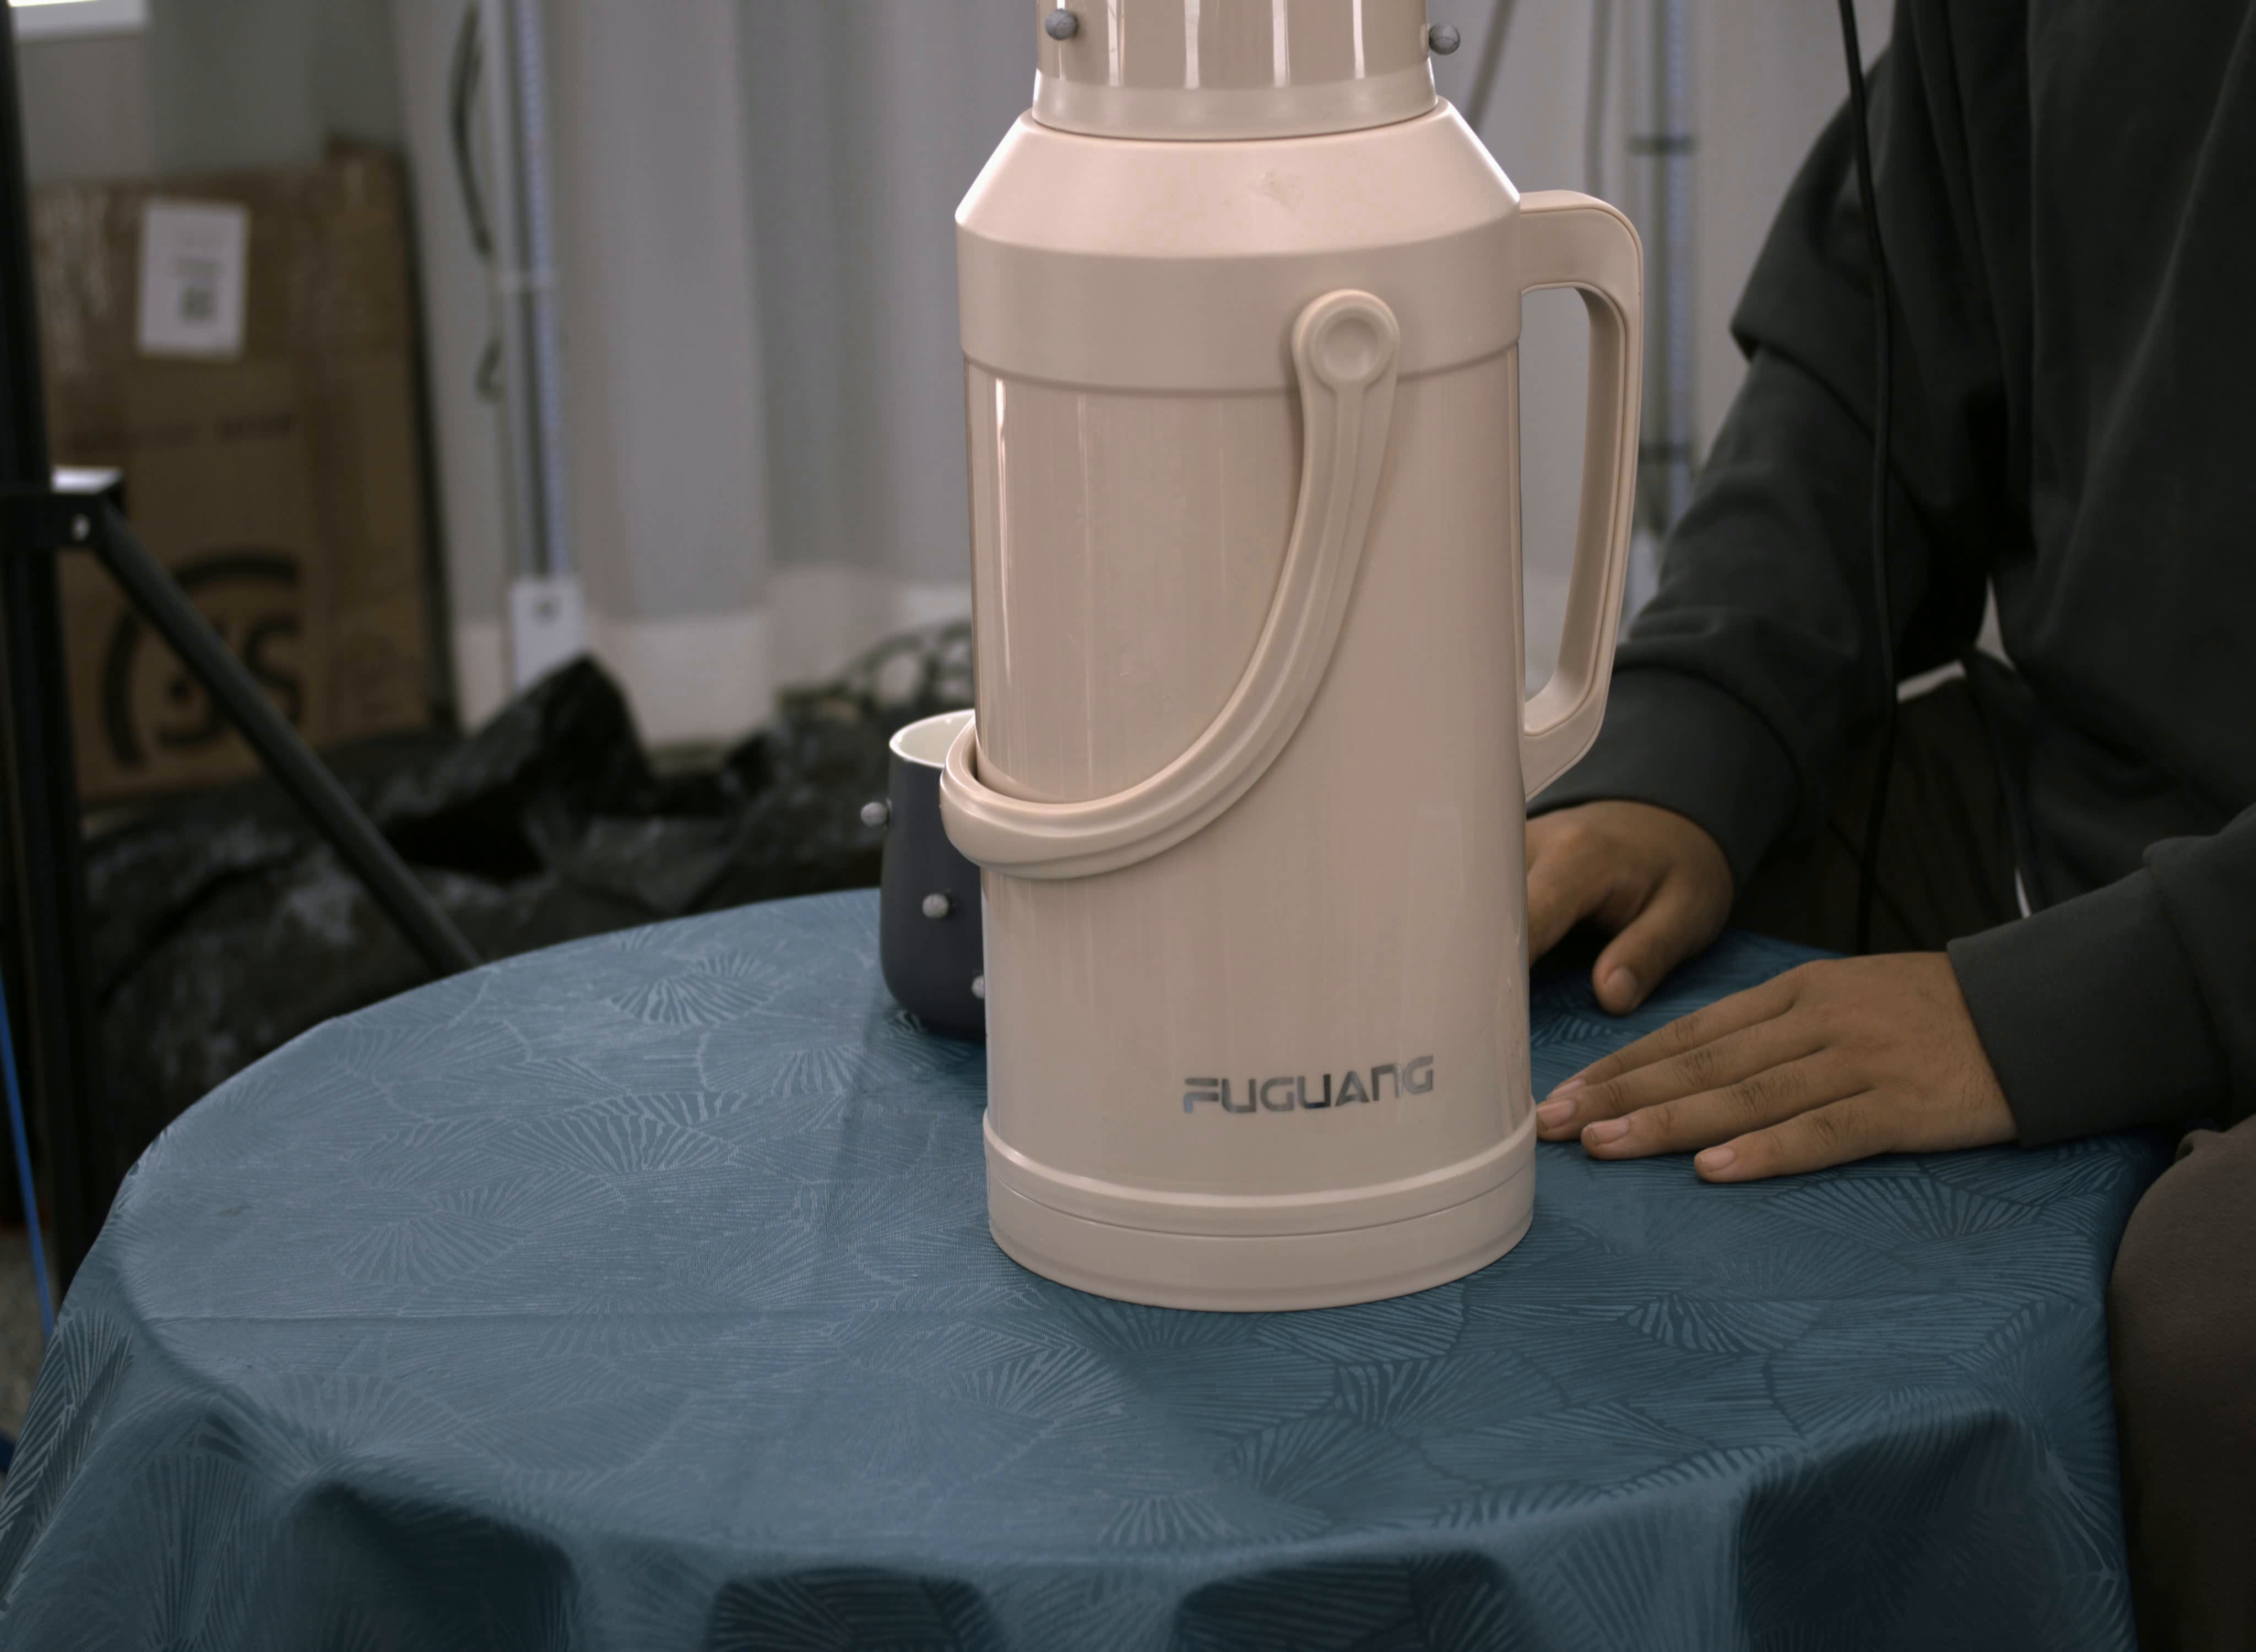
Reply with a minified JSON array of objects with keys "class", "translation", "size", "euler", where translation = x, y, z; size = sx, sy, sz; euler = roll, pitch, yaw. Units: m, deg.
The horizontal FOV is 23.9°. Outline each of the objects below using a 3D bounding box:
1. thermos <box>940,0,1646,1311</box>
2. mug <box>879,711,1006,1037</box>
[{"class":"thermos","translation":[0.047,-0.080,1.488],"size":[0.203,0.406,0.178],"euler":[-7,15,-17]},{"class":"mug","translation":[-0.020,0.014,1.725],"size":[0.122,0.090,0.094],"euler":[-4,16,-8]}]
